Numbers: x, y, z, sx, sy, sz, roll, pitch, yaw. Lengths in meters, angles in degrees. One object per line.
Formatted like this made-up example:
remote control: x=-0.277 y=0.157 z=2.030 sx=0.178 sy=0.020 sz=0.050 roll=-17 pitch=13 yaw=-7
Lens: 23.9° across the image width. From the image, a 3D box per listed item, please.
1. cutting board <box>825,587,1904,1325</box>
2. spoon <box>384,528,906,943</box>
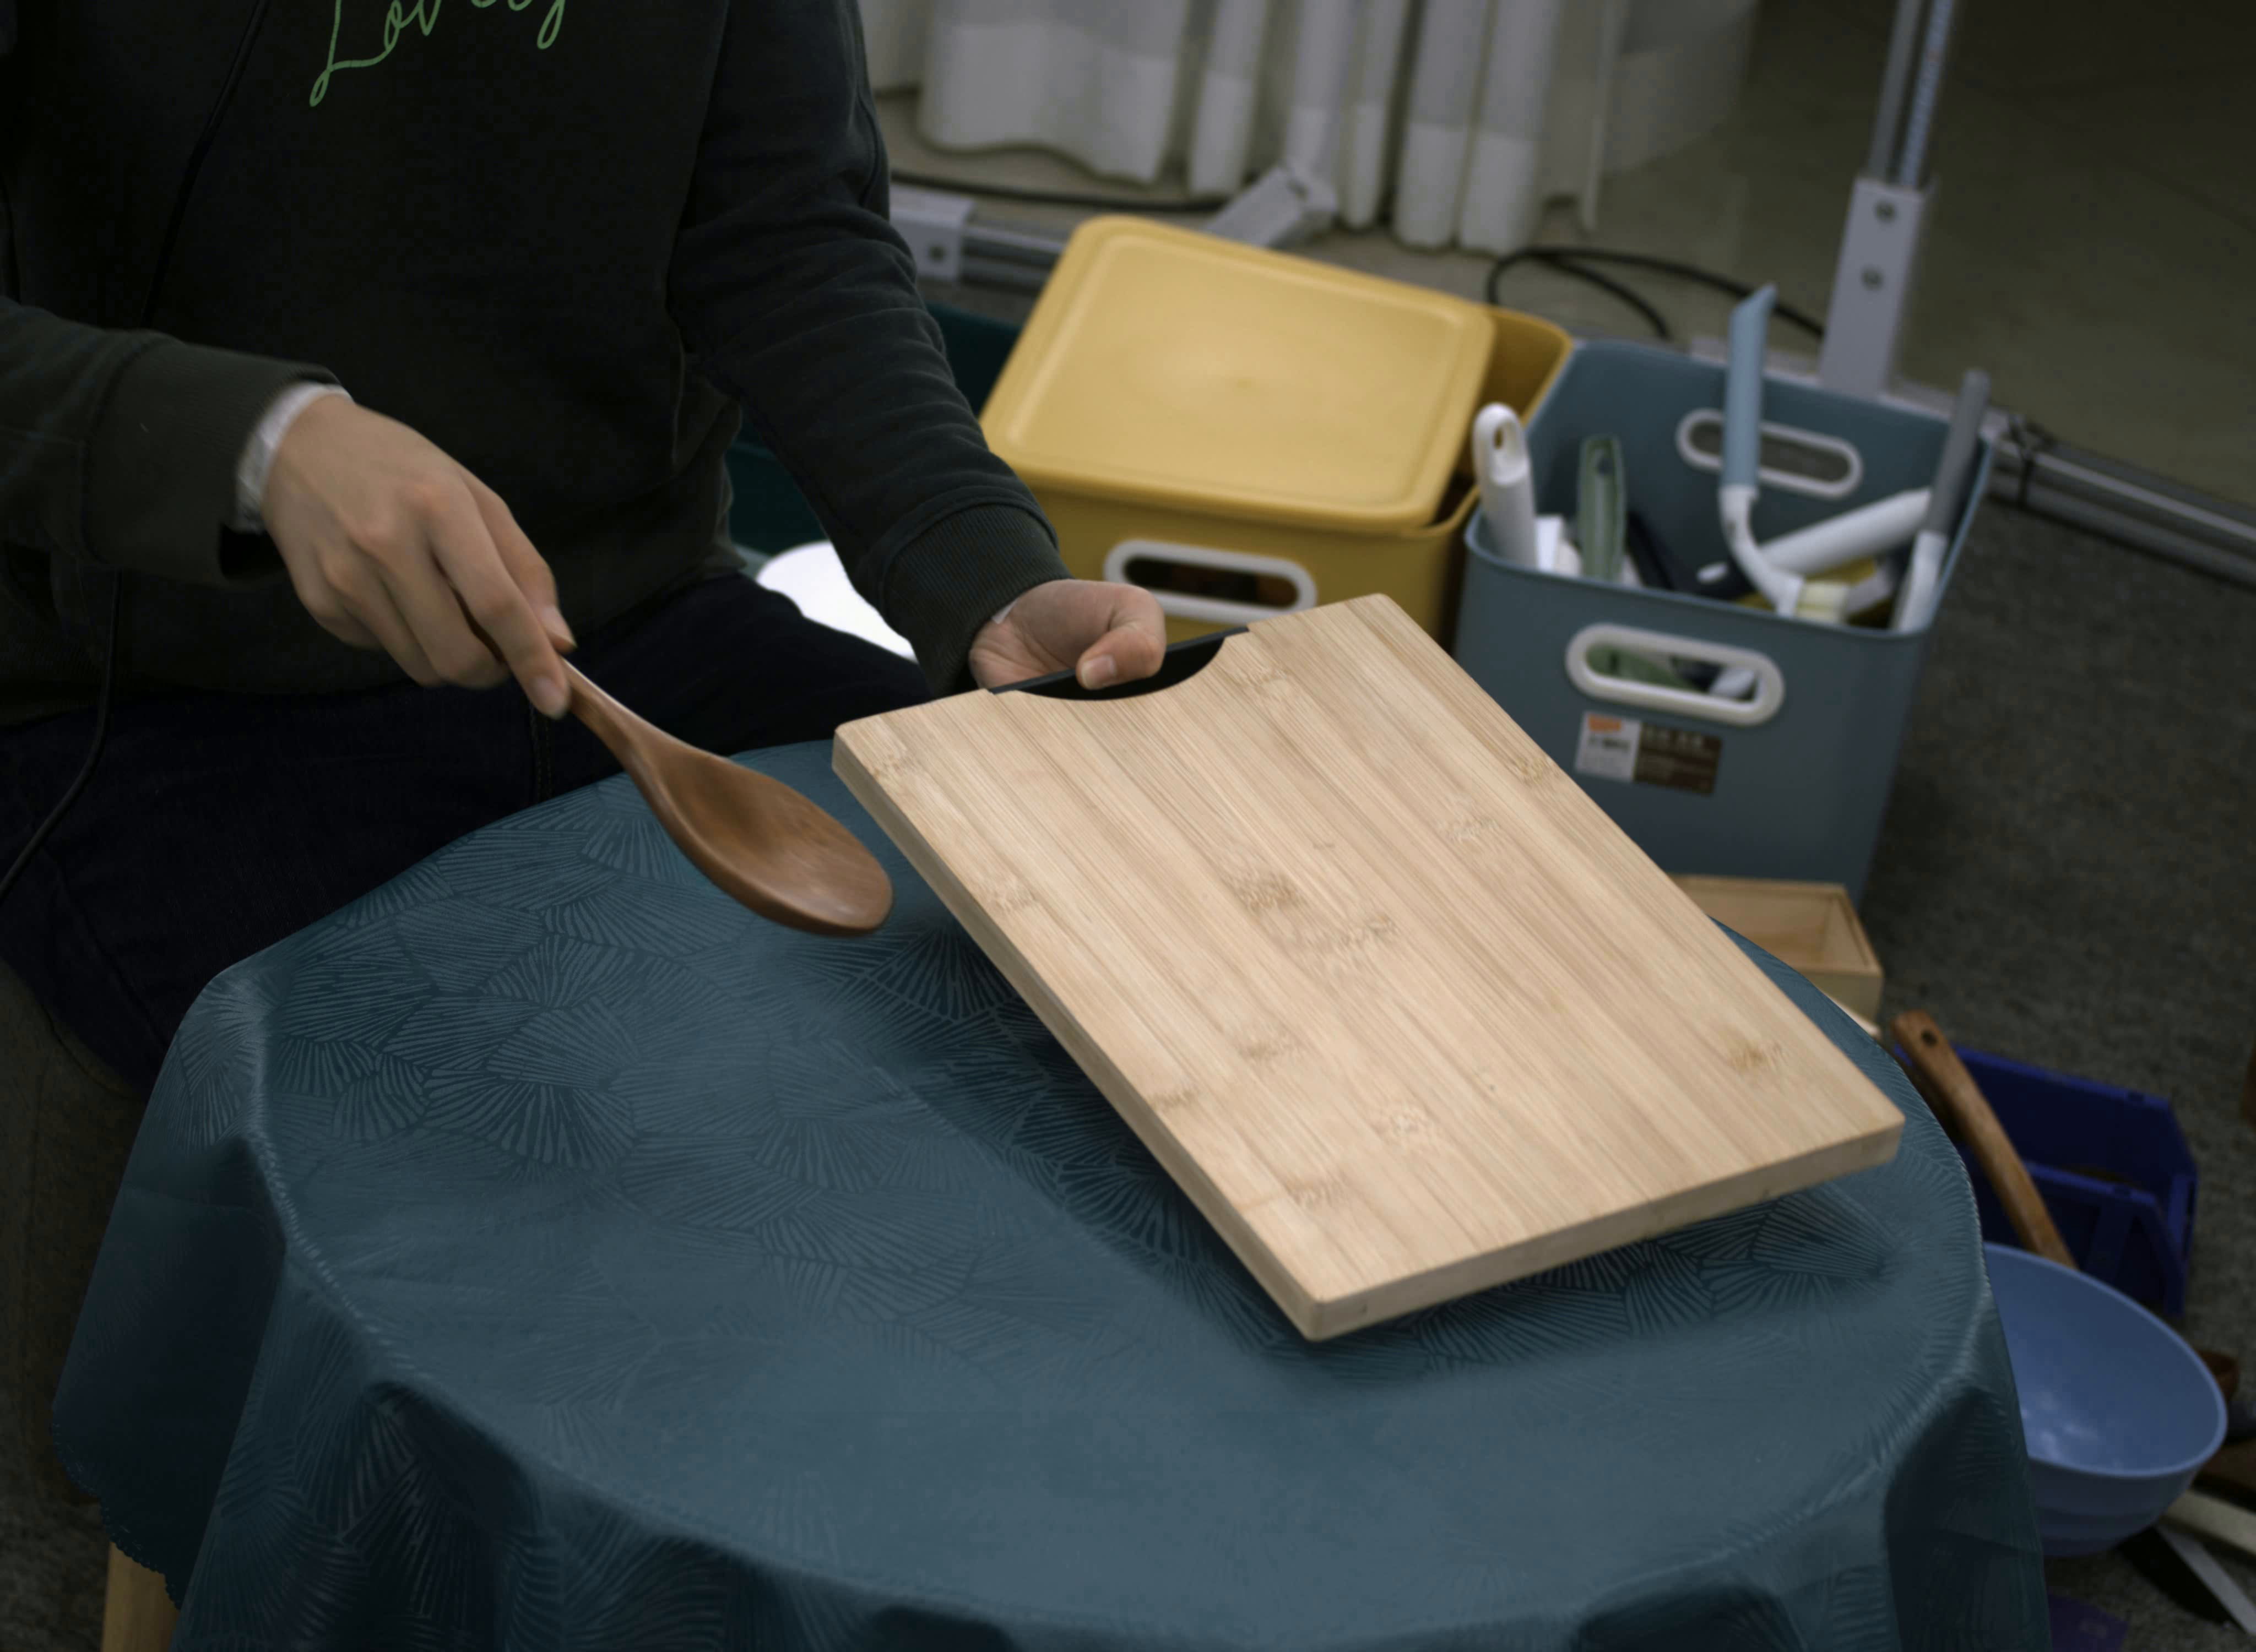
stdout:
cutting board: x=0.076 y=0.037 z=1.876 sx=0.249 sy=0.023 sz=0.352 roll=-14 pitch=41 yaw=-28
spoon: x=-0.160 y=-0.028 z=1.728 sx=0.217 sy=0.017 sz=0.075 roll=39 pitch=29 yaw=15
